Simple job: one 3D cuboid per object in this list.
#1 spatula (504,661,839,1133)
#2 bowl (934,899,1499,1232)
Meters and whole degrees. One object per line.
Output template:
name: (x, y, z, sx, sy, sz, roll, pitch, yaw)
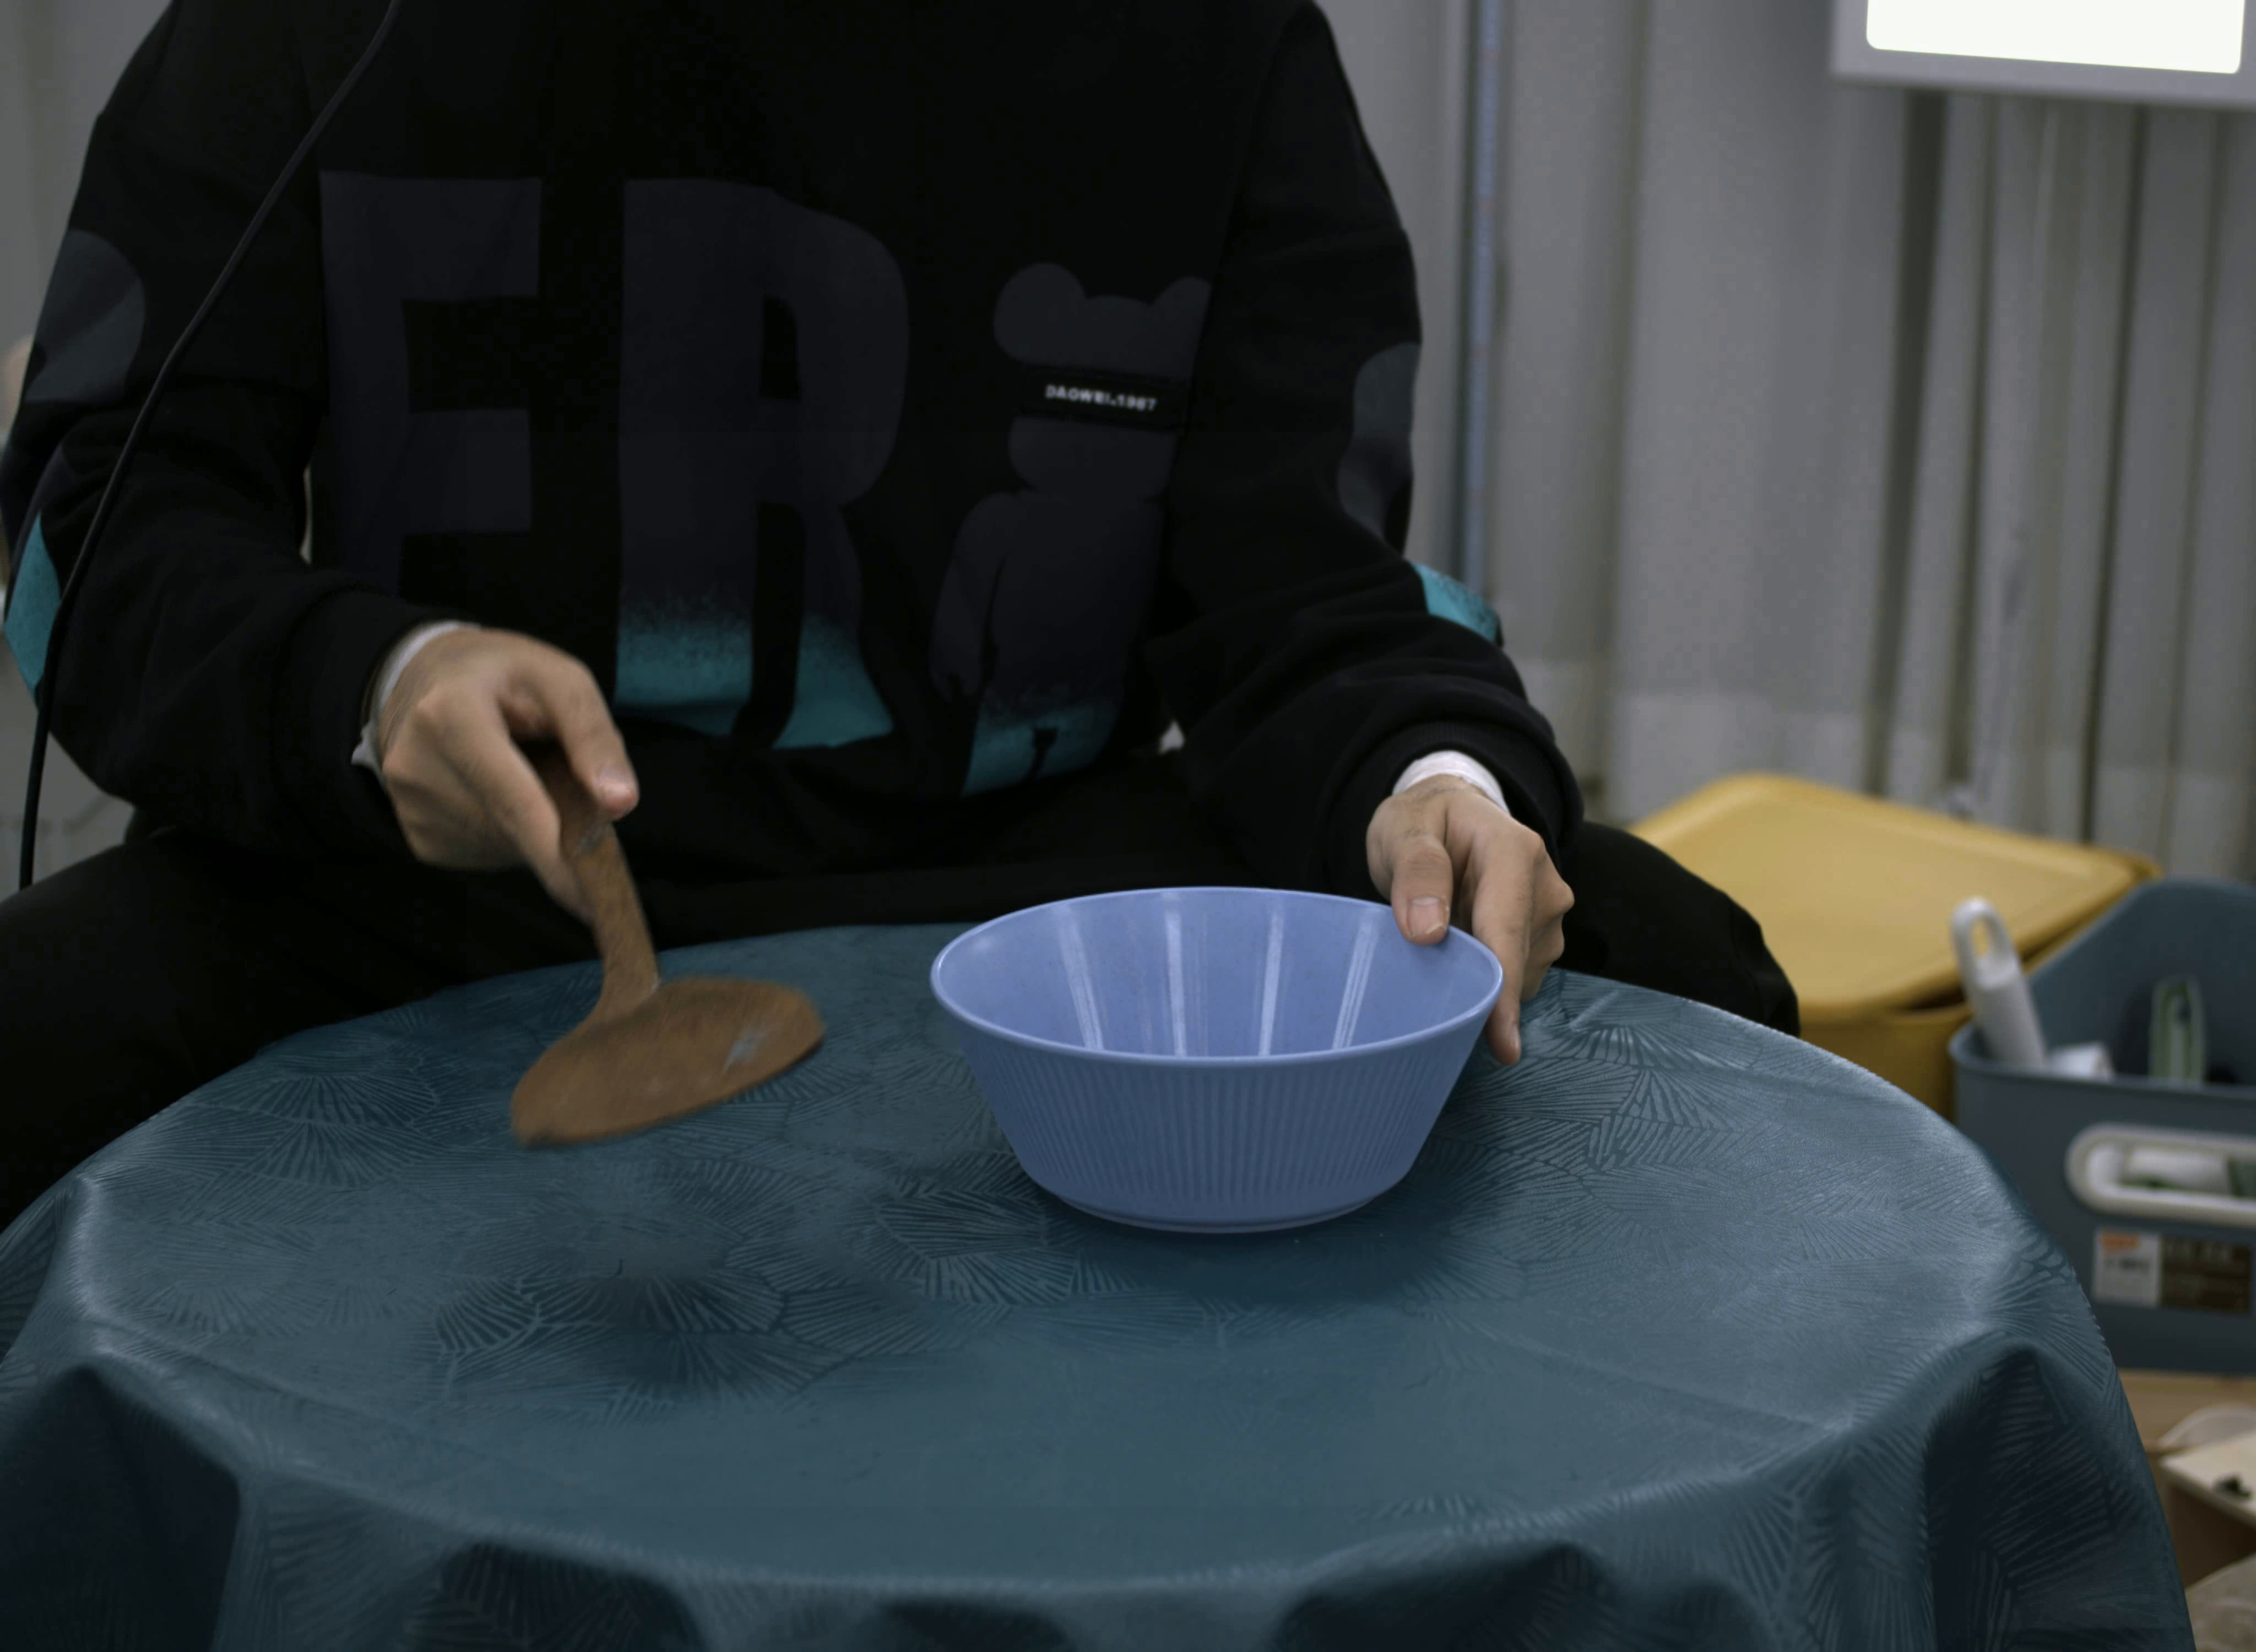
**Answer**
spatula: (-0.163, 0.012, 1.650, 0.096, 0.016, 0.382, -19, 24, -6)
bowl: (0.027, 0.076, 1.628, 0.175, 0.071, 0.175, 1, 15, 0)
